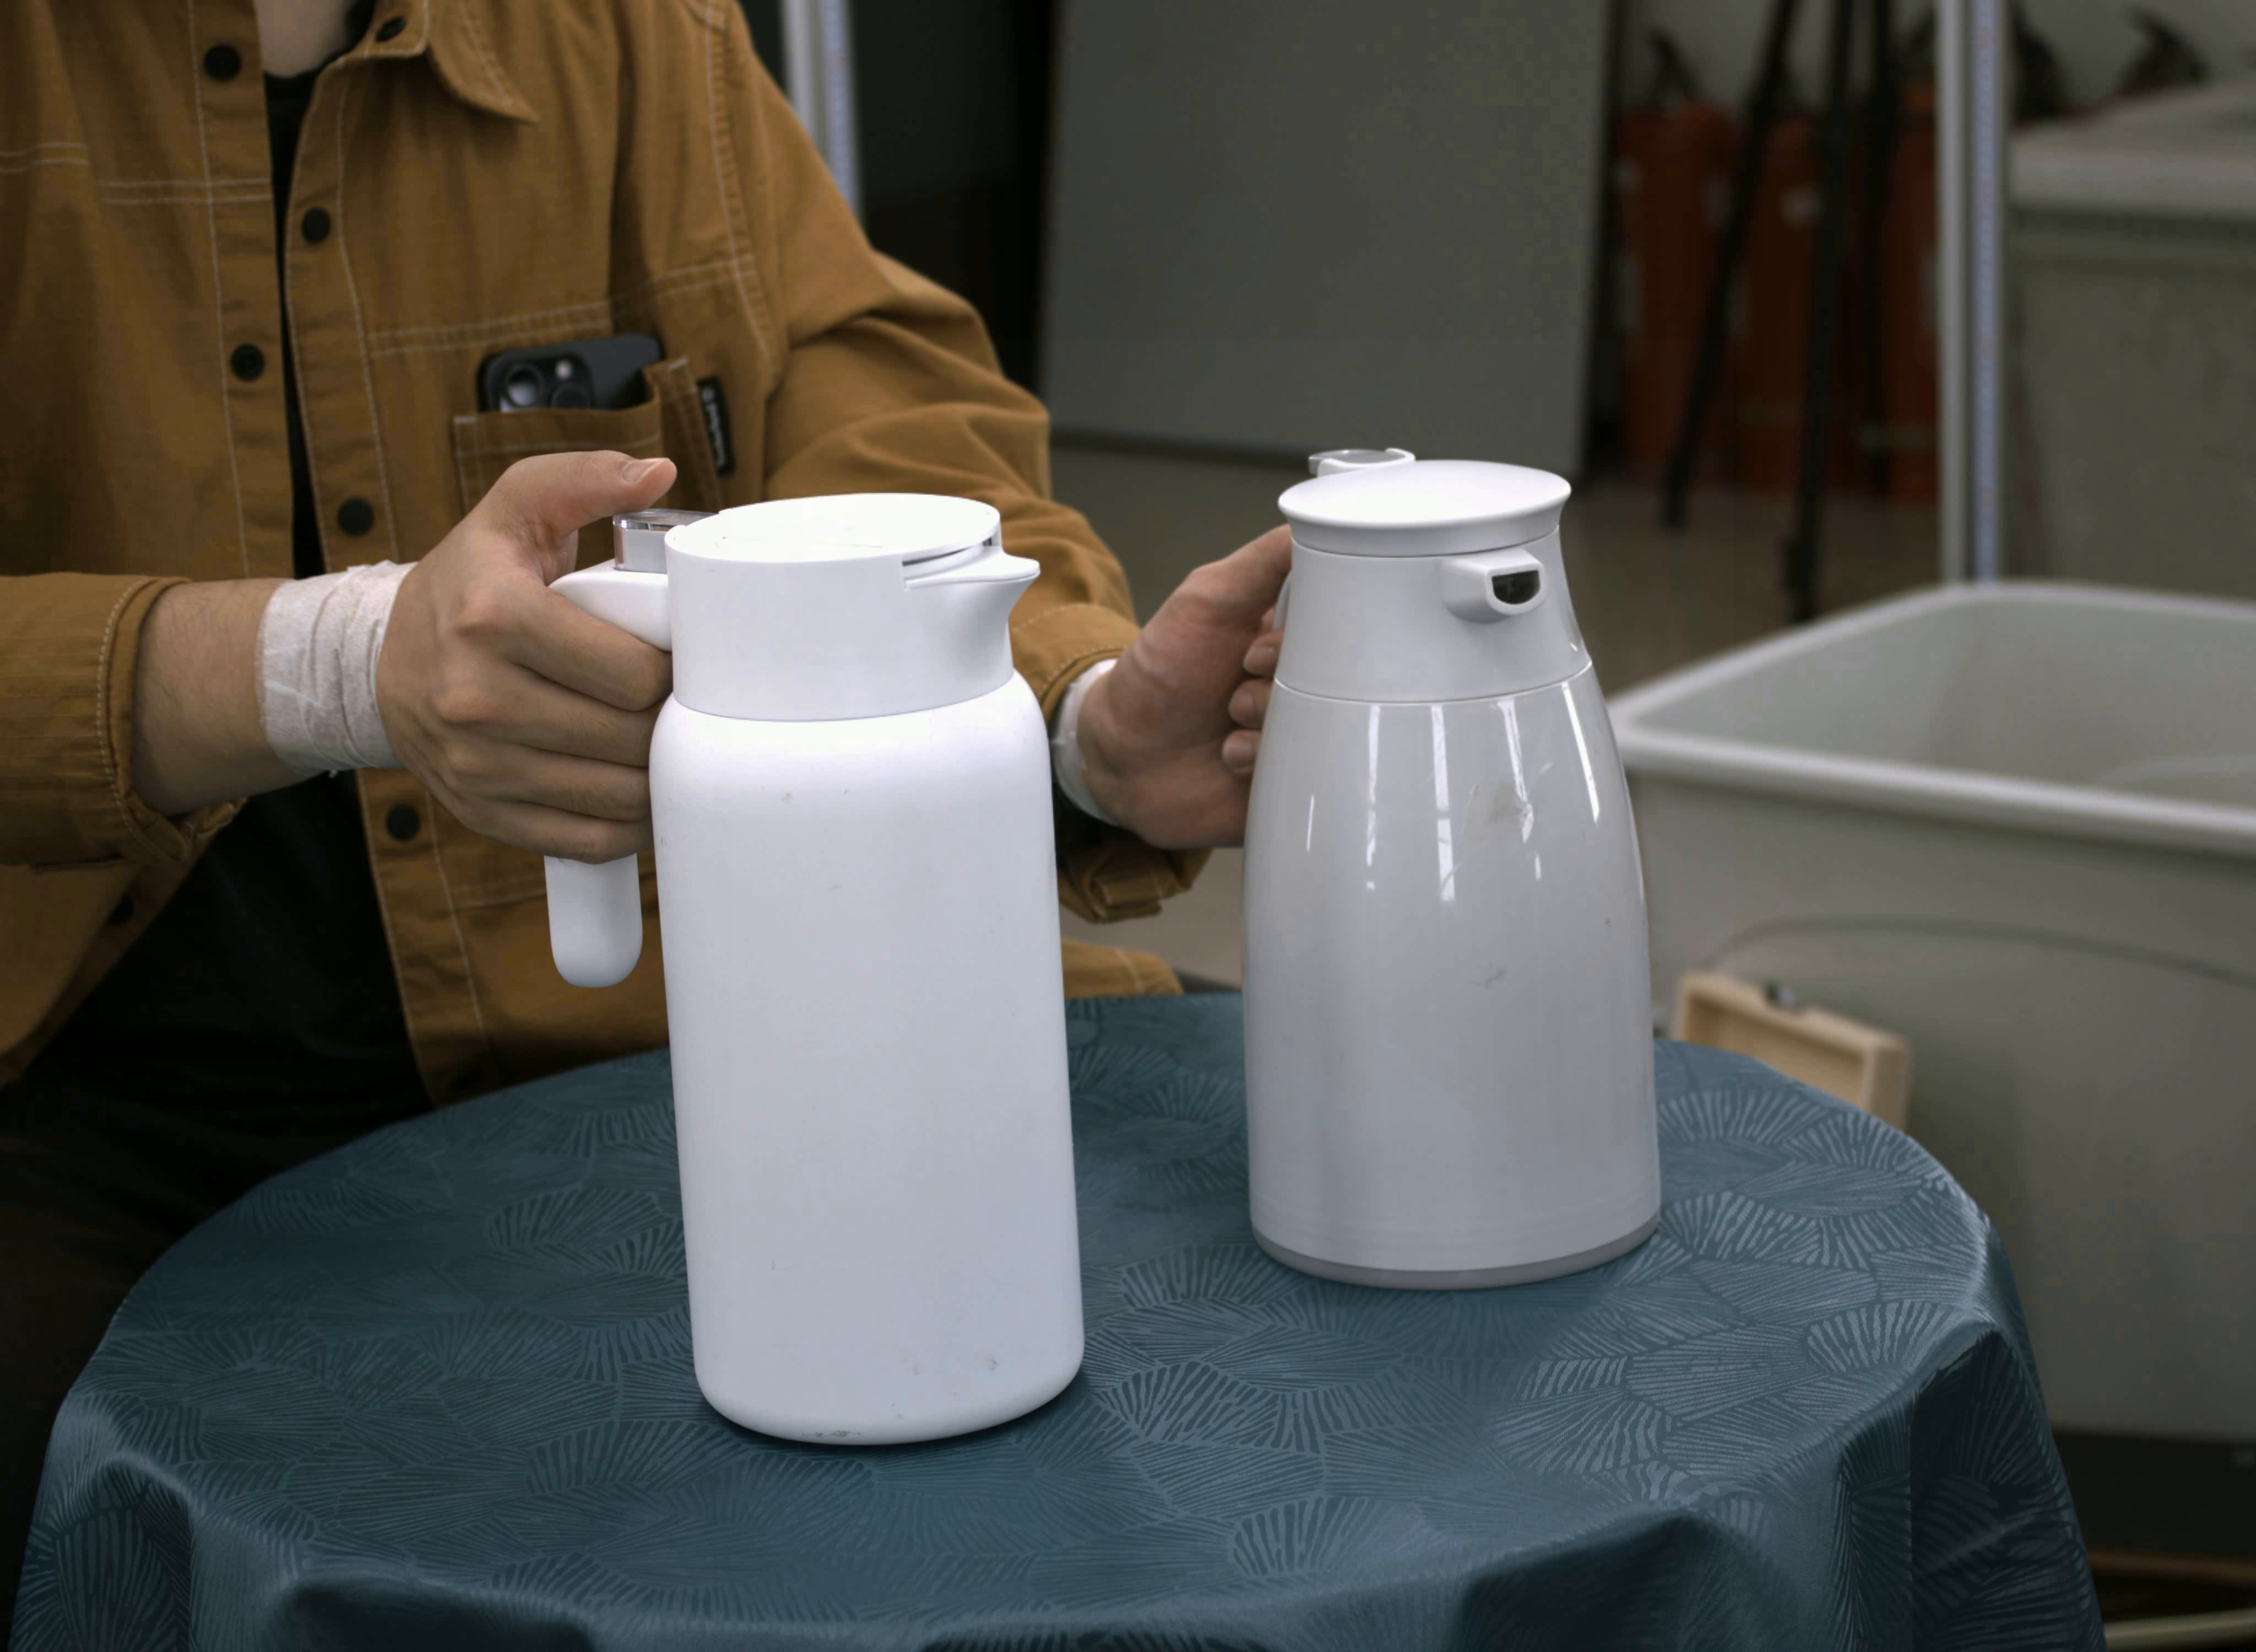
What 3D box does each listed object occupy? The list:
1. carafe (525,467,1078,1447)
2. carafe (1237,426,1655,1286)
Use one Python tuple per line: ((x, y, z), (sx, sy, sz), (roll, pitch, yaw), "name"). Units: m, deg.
((-0.094, 0.037, 1.583), (0.173, 0.272, 0.122), (4, 17, 31), "carafe")
((0.088, 0.001, 1.707), (0.130, 0.251, 0.169), (-9, 14, -21), "carafe")
